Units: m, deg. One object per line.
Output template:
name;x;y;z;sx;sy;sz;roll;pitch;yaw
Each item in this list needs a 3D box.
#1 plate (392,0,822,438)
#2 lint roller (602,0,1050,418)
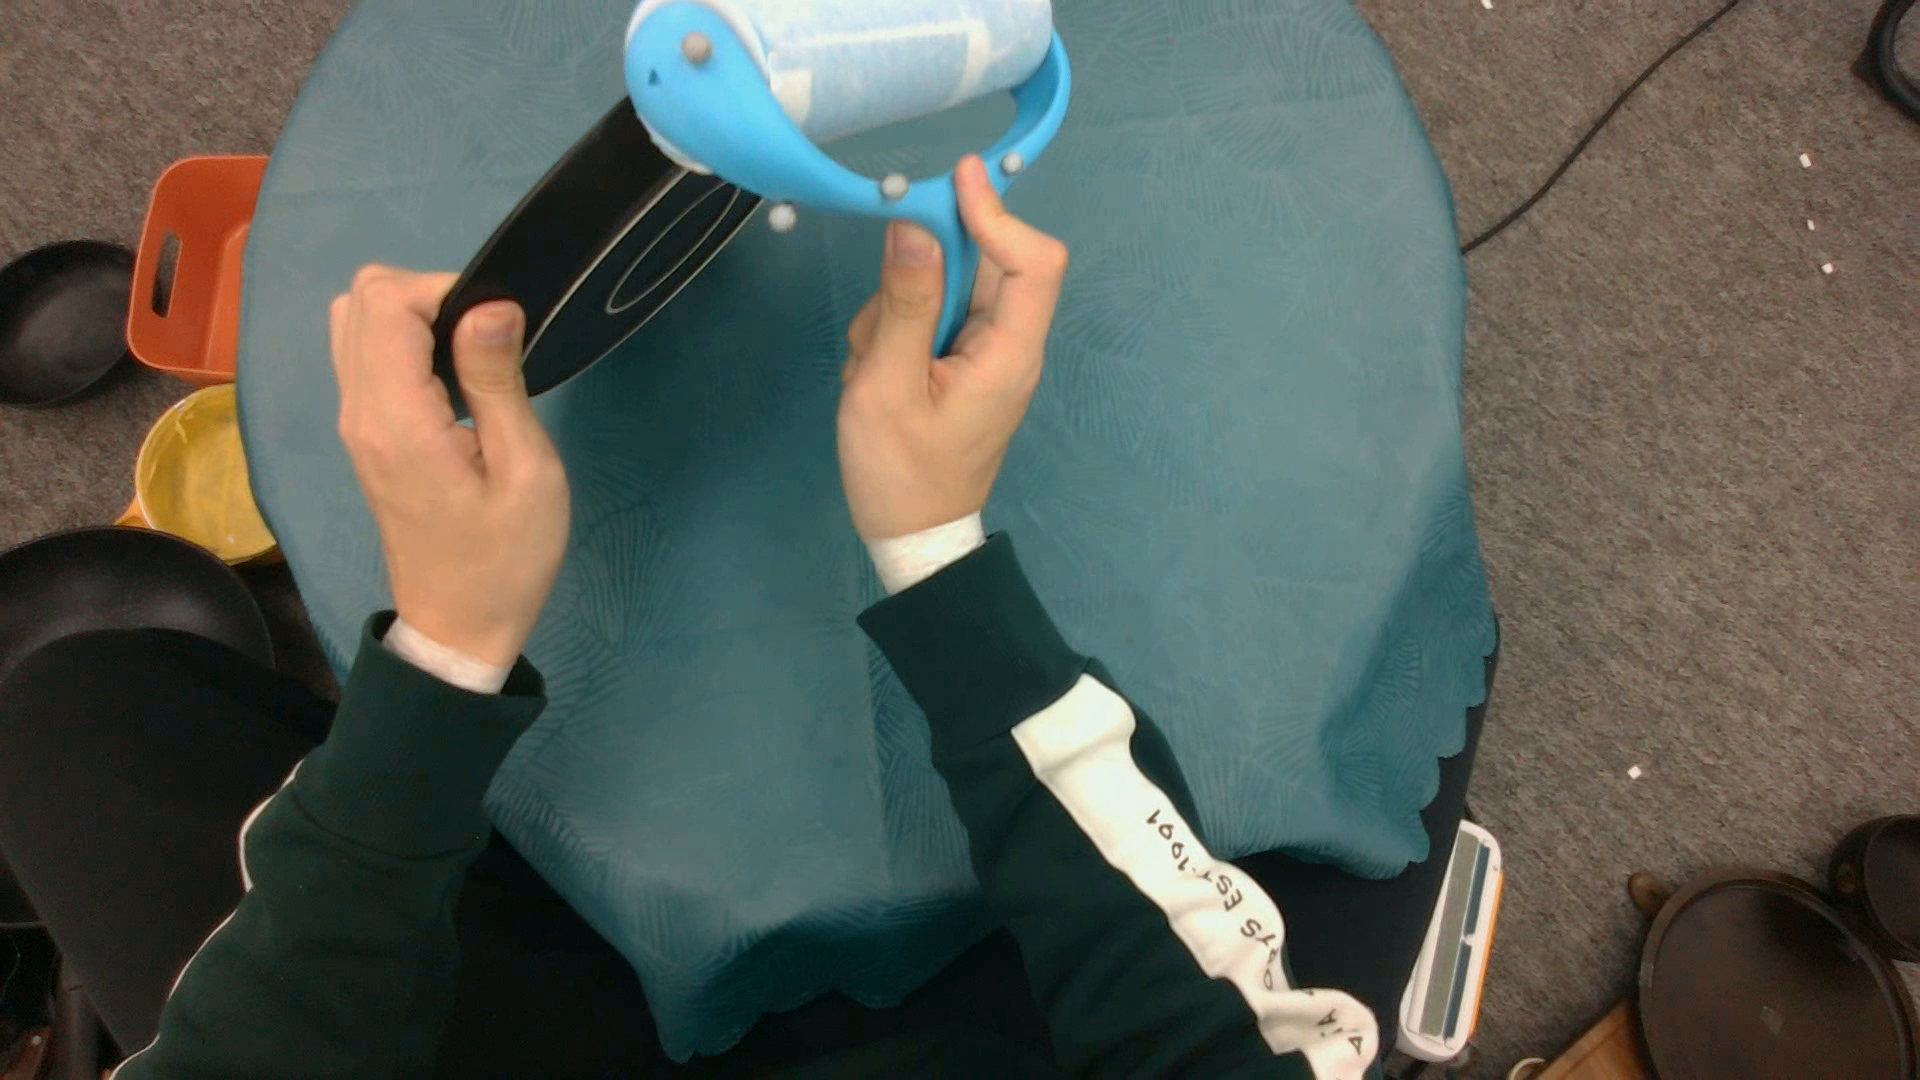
plate;-0.133;-0.125;0.557;0.023;0.244;0.245;43;78;-8
lint roller;-0.030;-0.129;0.499;0.068;0.179;0.230;6;30;27
